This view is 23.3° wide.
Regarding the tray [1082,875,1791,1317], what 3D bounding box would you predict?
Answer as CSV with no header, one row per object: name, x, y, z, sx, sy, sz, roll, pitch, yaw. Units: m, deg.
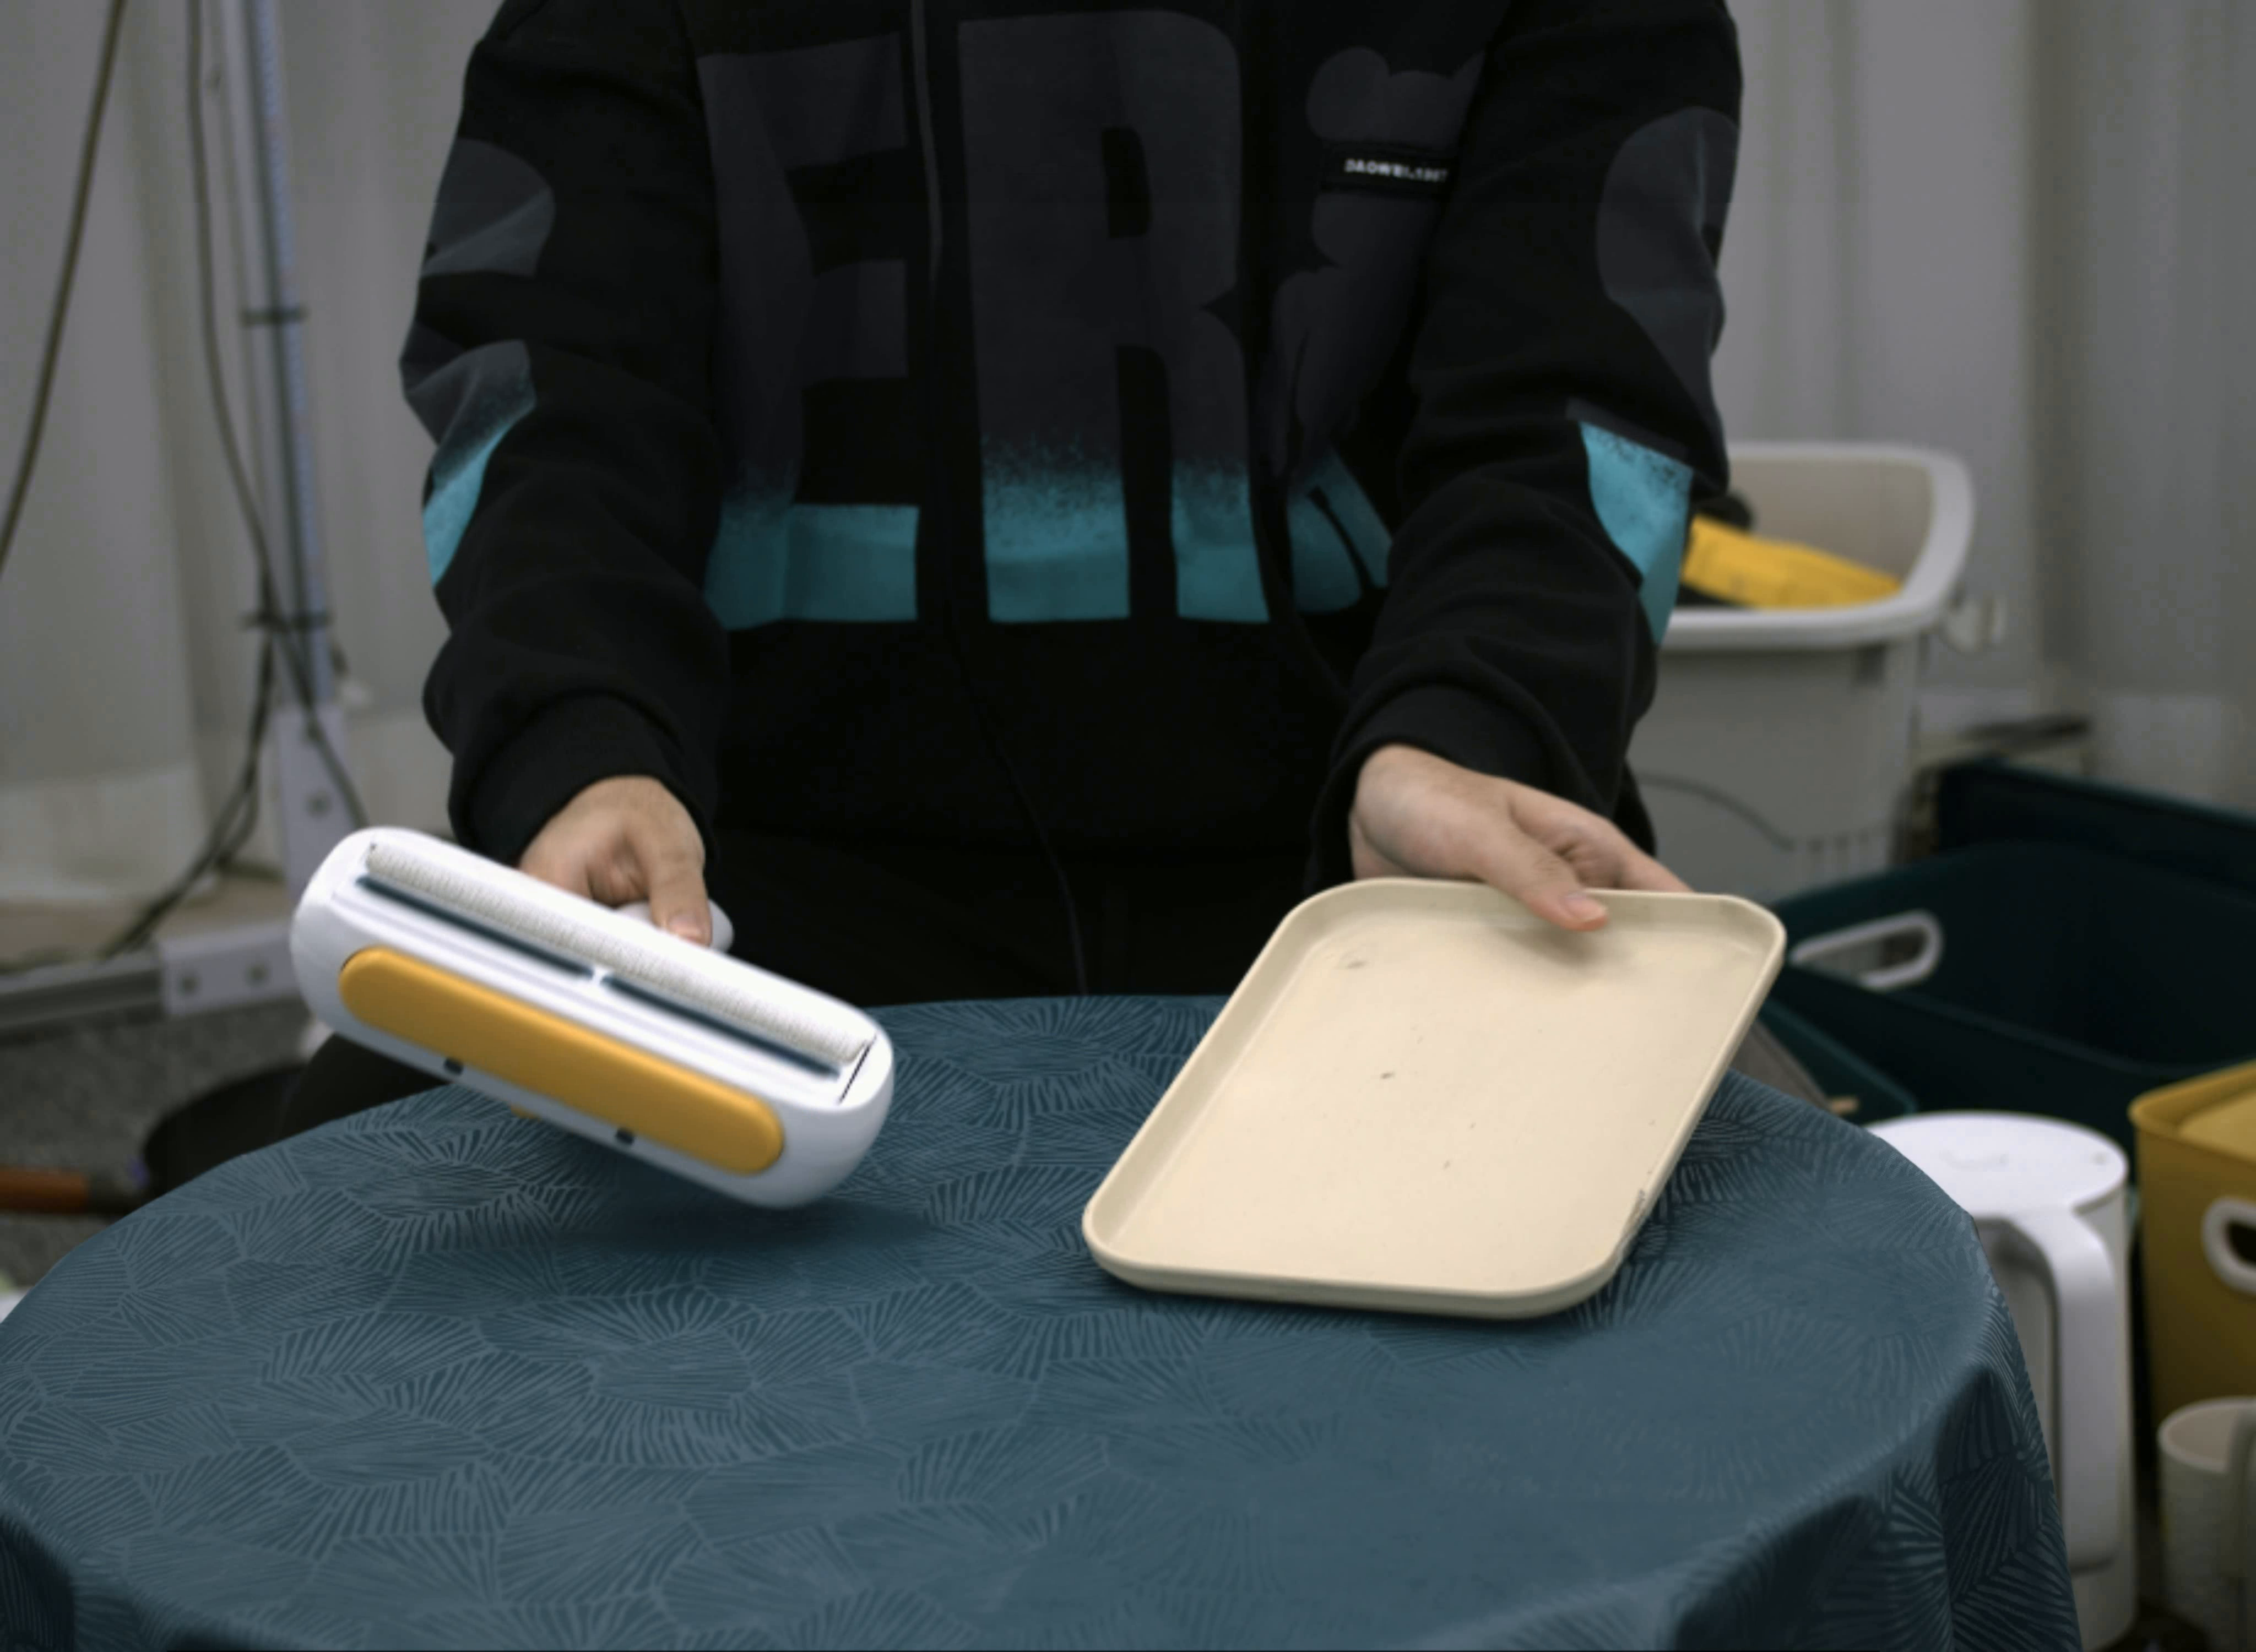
tray,0.099,0.082,1.690,0.171,0.017,0.241,3,29,24

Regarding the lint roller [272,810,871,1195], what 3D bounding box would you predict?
lint roller,-0.161,0.043,1.752,0.193,0.074,0.193,19,21,8
